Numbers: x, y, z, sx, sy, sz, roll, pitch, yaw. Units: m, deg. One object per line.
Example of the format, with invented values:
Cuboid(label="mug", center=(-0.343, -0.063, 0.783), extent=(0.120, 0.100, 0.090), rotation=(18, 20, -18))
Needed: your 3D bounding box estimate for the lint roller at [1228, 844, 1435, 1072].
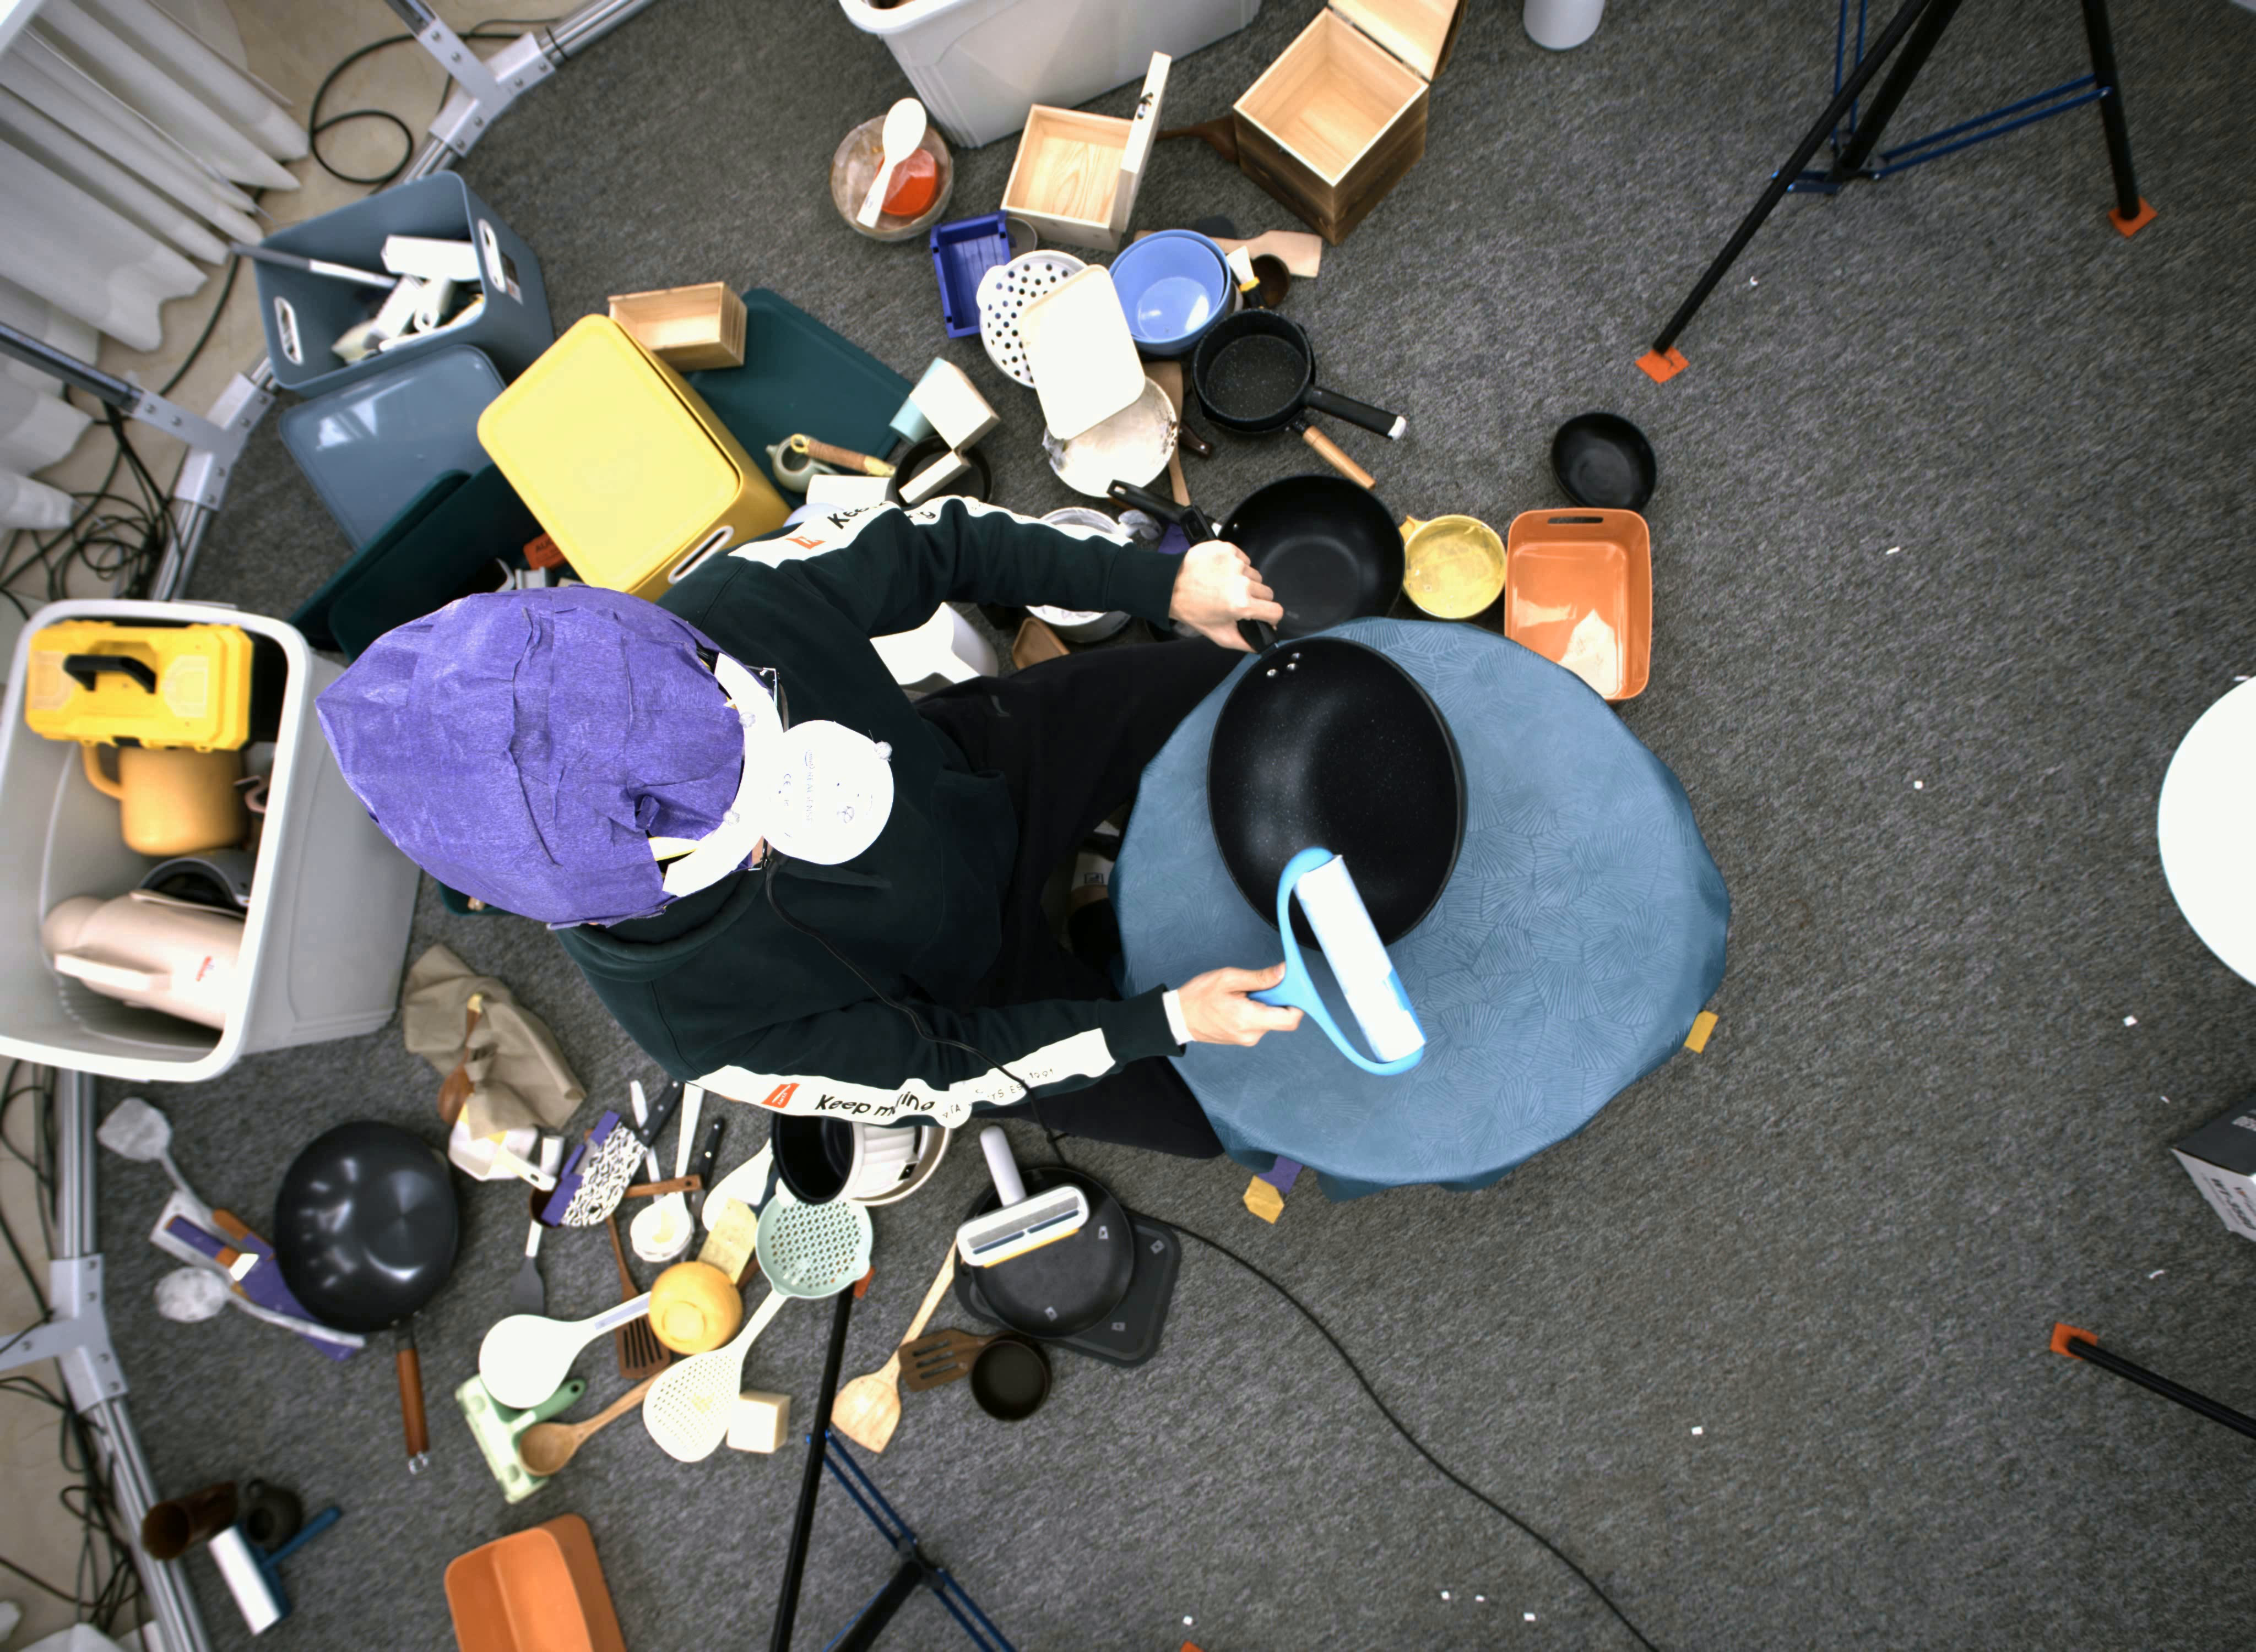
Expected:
Cuboid(label="lint roller", center=(0.170, 0.148, 1.310), extent=(0.183, 0.067, 0.229), rotation=(-29, 95, 21))

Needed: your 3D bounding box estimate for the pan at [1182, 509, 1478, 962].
Cuboid(label="pan", center=(0.183, -0.101, 1.354), extent=(0.316, 0.110, 0.473), rotation=(-32, 77, 45))
